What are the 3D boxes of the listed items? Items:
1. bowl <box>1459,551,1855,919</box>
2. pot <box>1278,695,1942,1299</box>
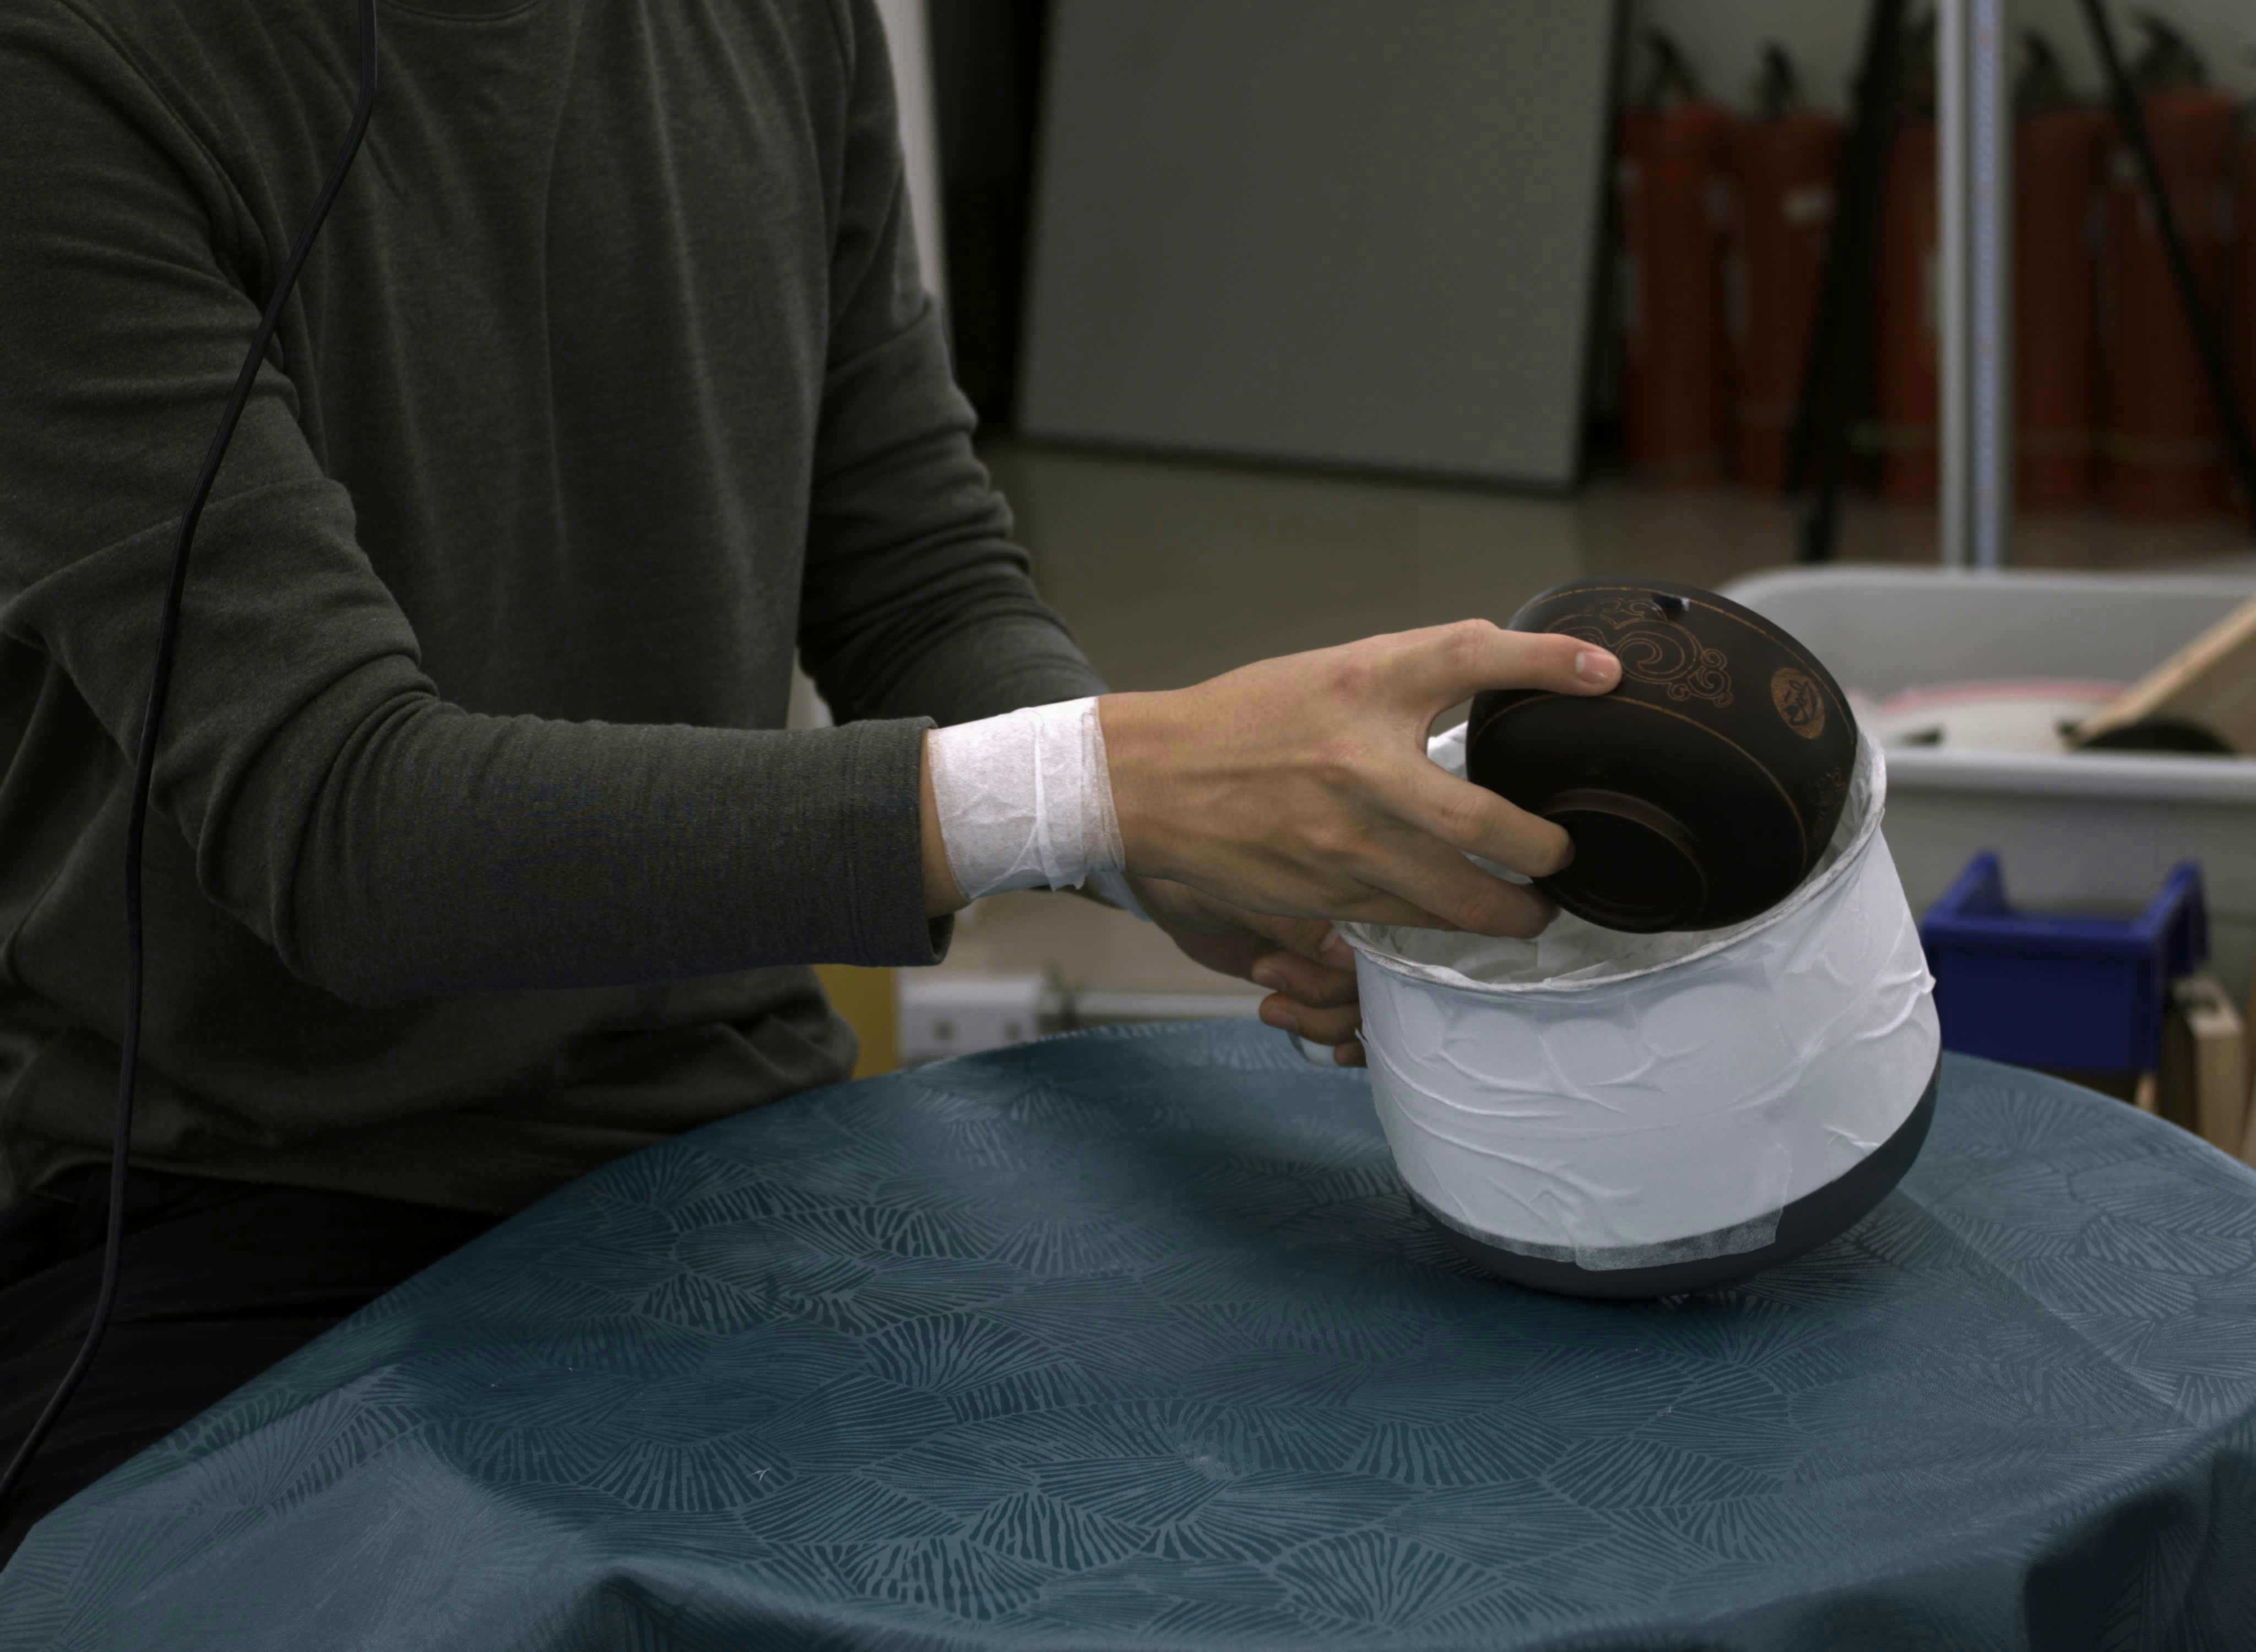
[{"bbox_3d":[0.152,-0.017,1.594,0.118,0.117,0.070,3,50,26],"label":"bowl"},{"bbox_3d":[0.137,0.046,1.679,0.235,0.137,0.176,10,38,40],"label":"pot"}]
